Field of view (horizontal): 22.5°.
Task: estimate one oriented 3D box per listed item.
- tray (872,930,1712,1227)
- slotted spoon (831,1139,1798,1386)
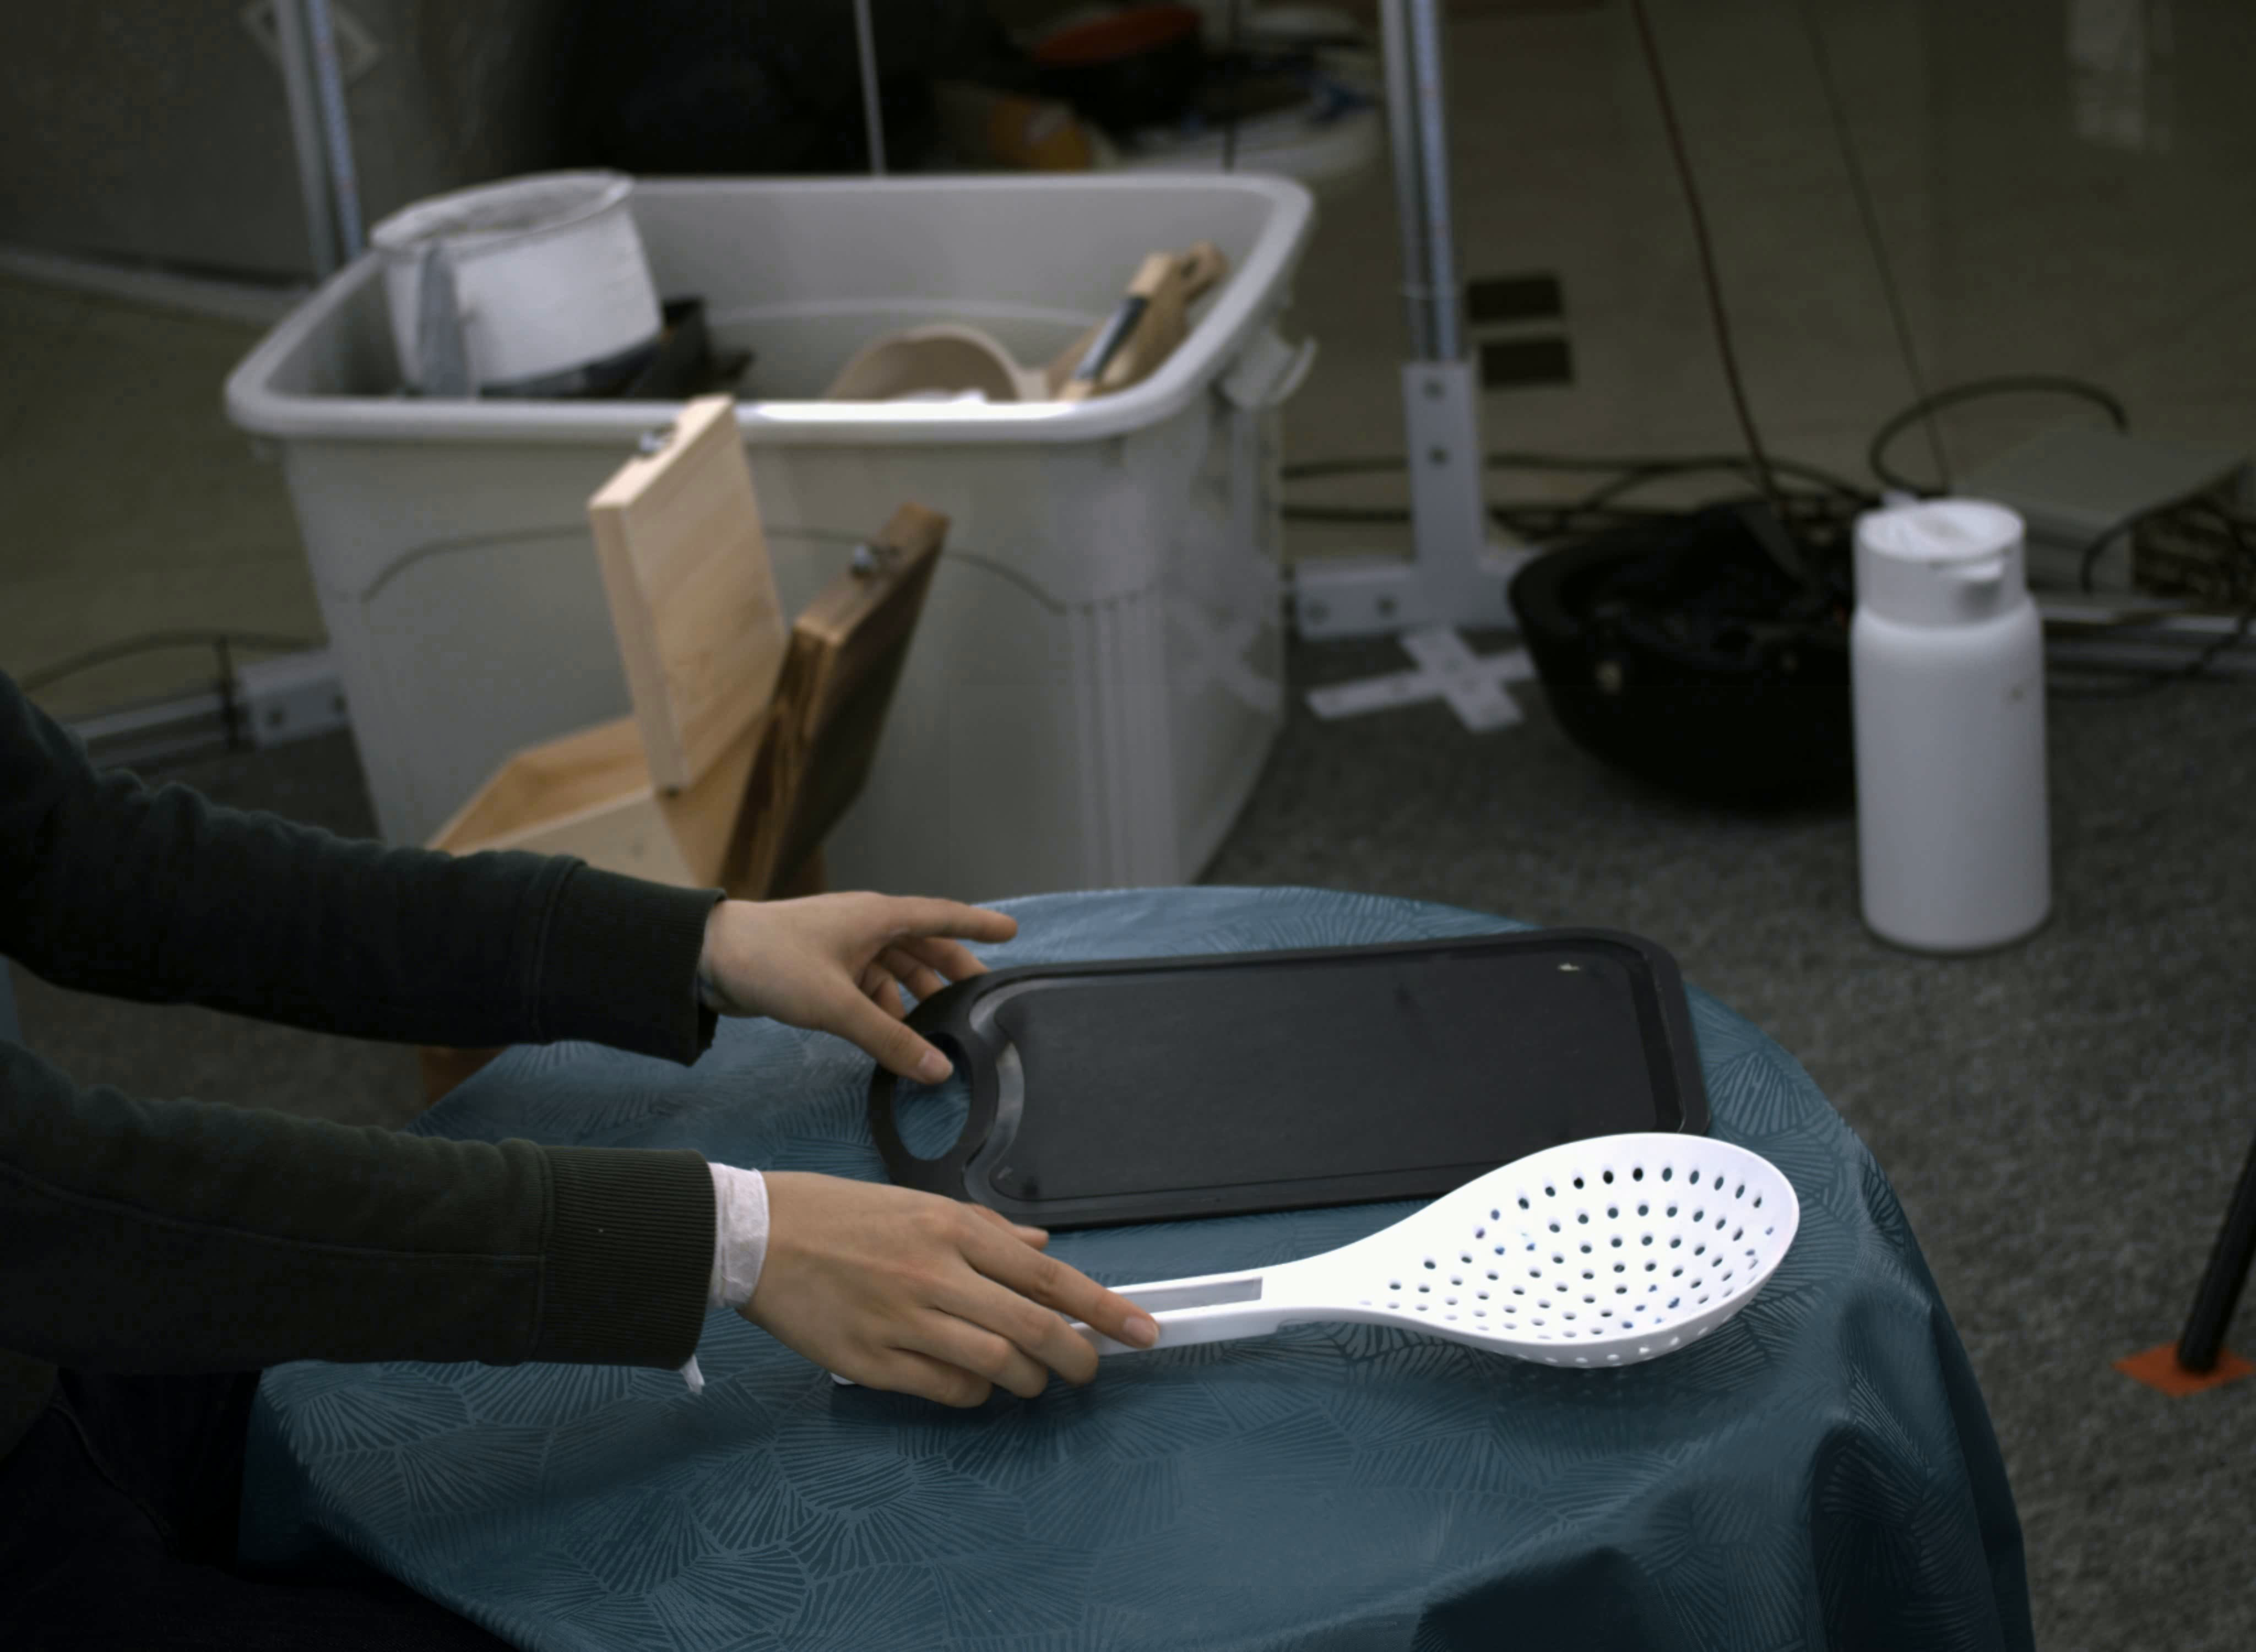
[{"bbox_3d":[0.061,0.096,2.216,0.325,0.010,0.208,-5,25,2],"label":"tray"},{"bbox_3d":[0.064,0.167,2.023,0.349,0.046,0.134,-4,26,7],"label":"slotted spoon"}]
